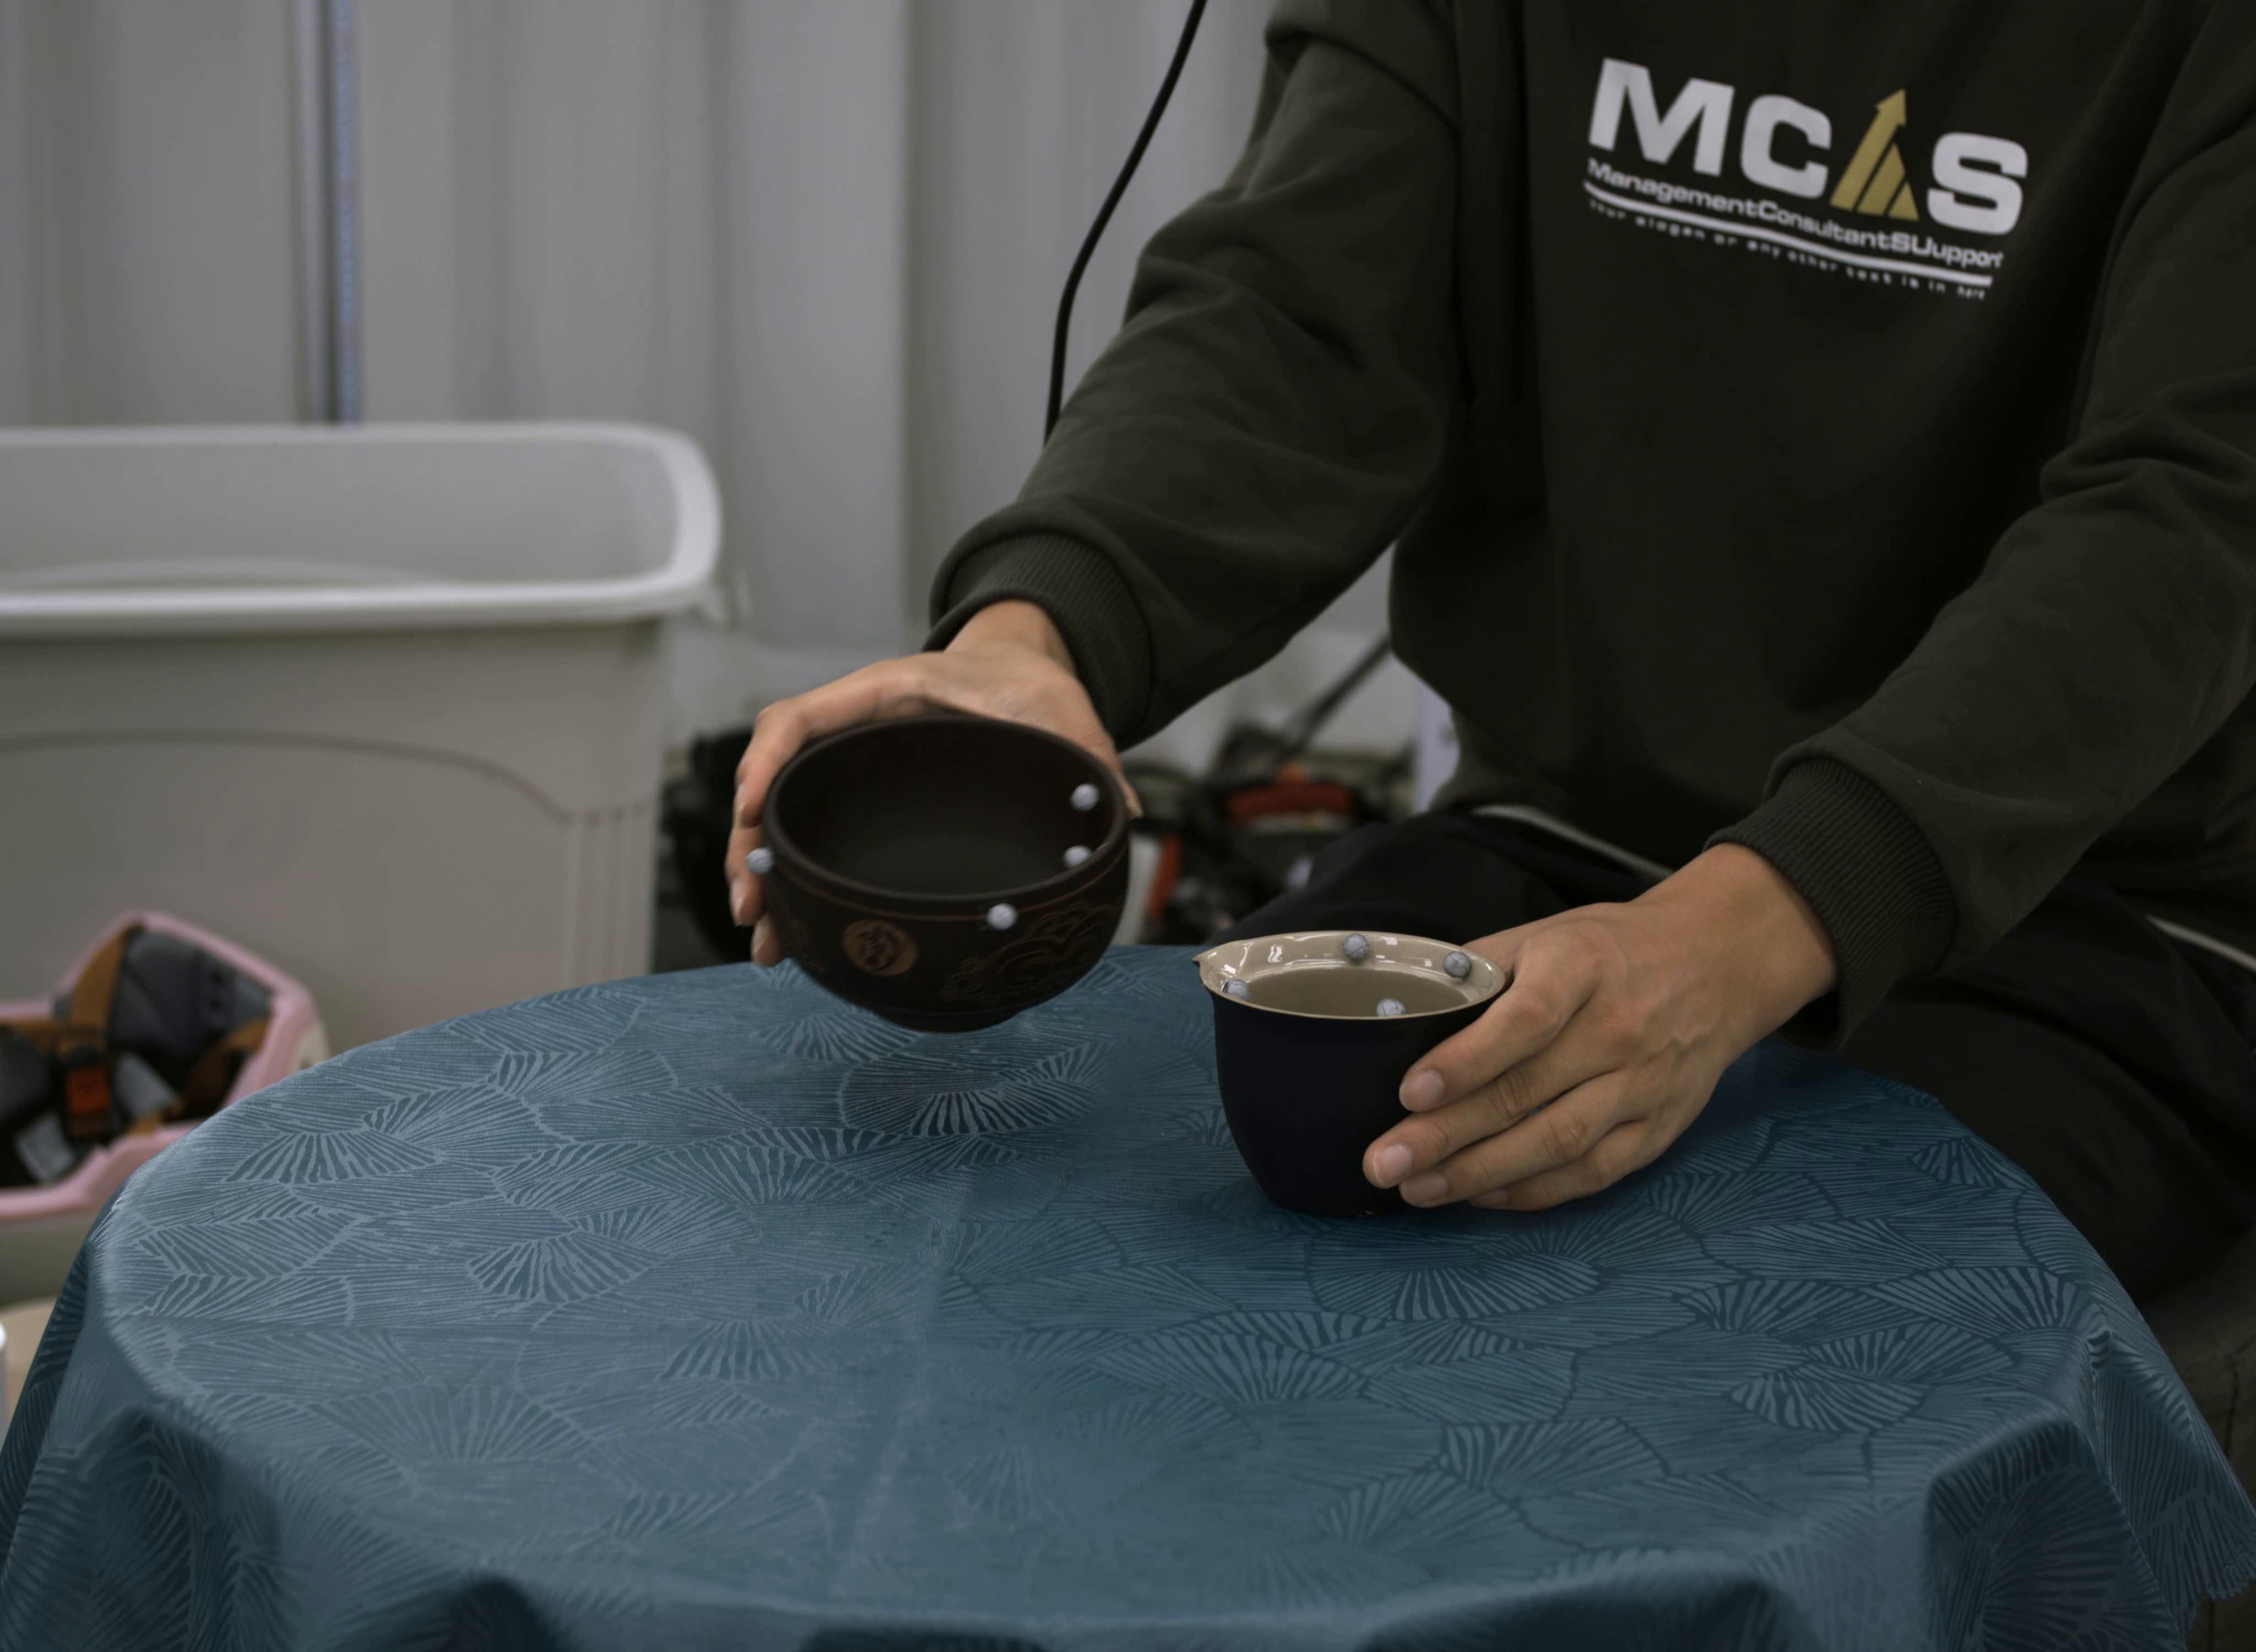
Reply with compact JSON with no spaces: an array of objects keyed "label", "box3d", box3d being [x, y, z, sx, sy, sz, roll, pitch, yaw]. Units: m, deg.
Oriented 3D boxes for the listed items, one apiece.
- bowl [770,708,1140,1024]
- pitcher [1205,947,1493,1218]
[{"label":"bowl","box3d":[-0.055,0.019,1.678,0.117,0.070,0.117,2,30,-1]},{"label":"pitcher","box3d":[0.066,0.078,1.622,0.095,0.072,0.084,10,21,35]}]
